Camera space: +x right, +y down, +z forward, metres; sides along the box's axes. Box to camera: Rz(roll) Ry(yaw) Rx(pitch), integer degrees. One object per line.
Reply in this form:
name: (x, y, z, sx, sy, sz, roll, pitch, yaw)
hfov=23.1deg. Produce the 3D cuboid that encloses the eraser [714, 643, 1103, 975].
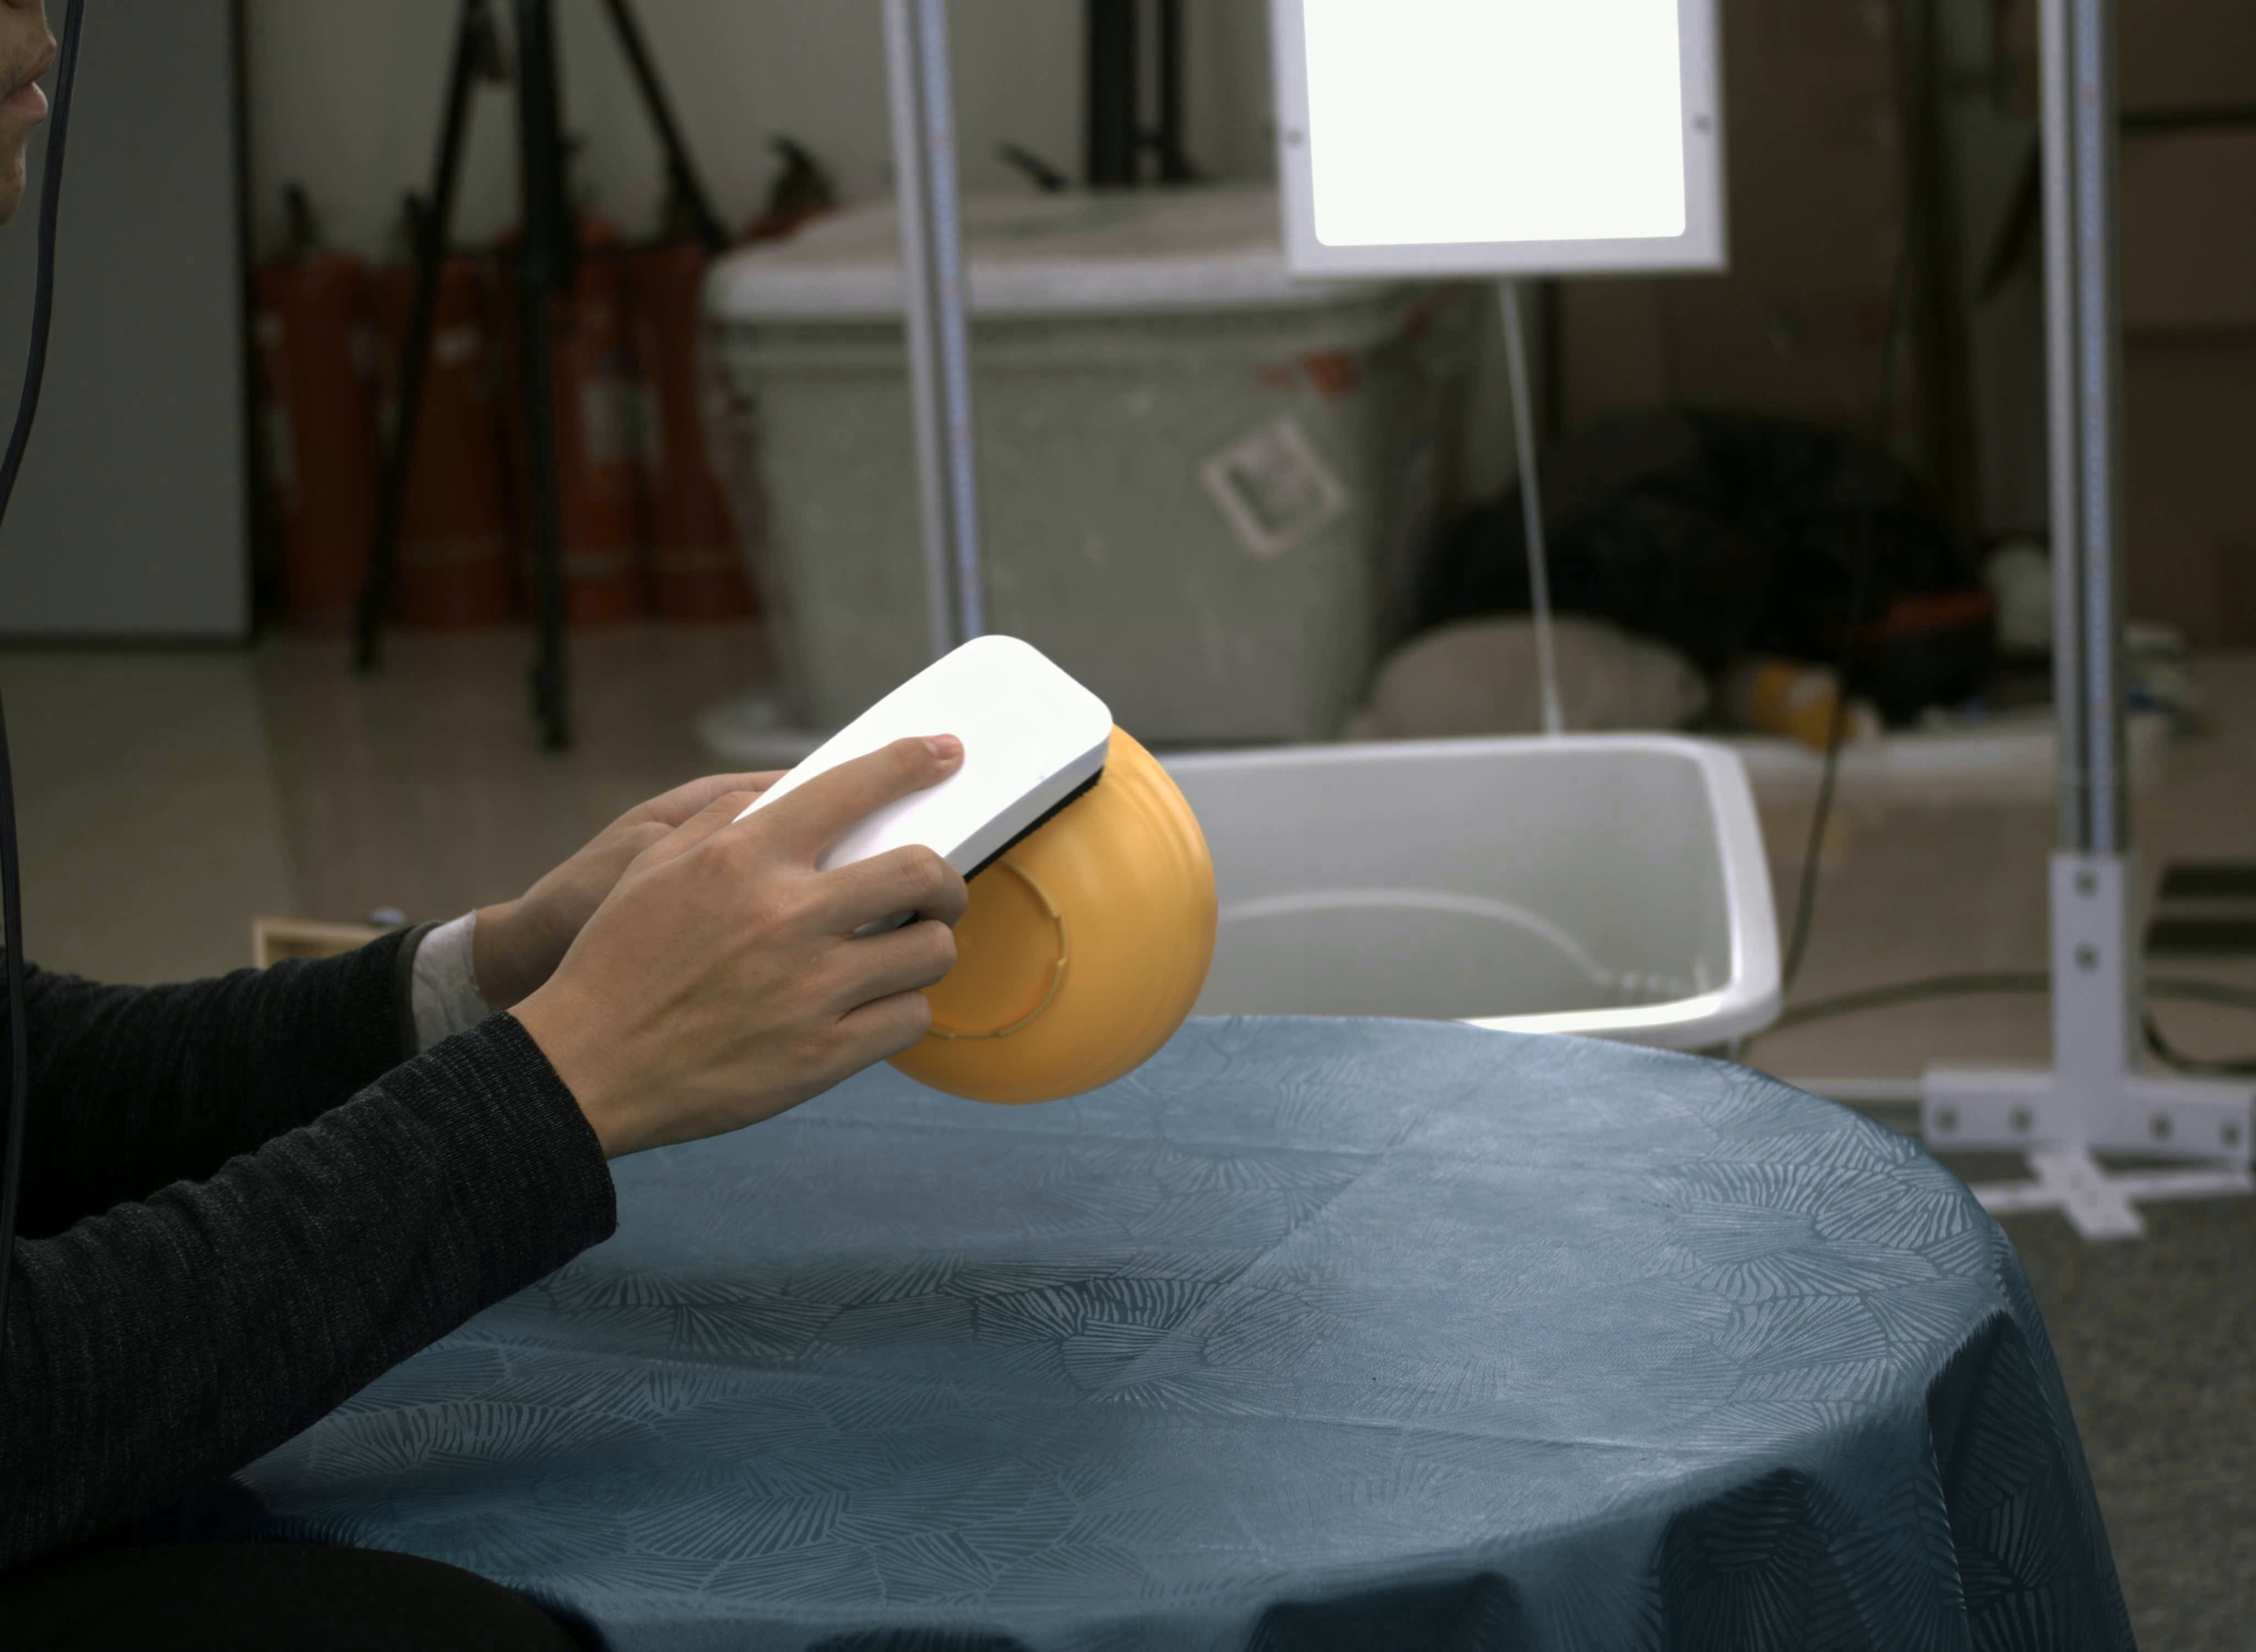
eraser: (-0.070, -0.008, 1.752, 0.129, 0.034, 0.064, -37, 58, -24)

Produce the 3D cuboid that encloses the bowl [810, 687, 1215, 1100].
bowl: (-0.047, 0.029, 1.804, 0.147, 0.146, 0.059, 0, 15, 16)
